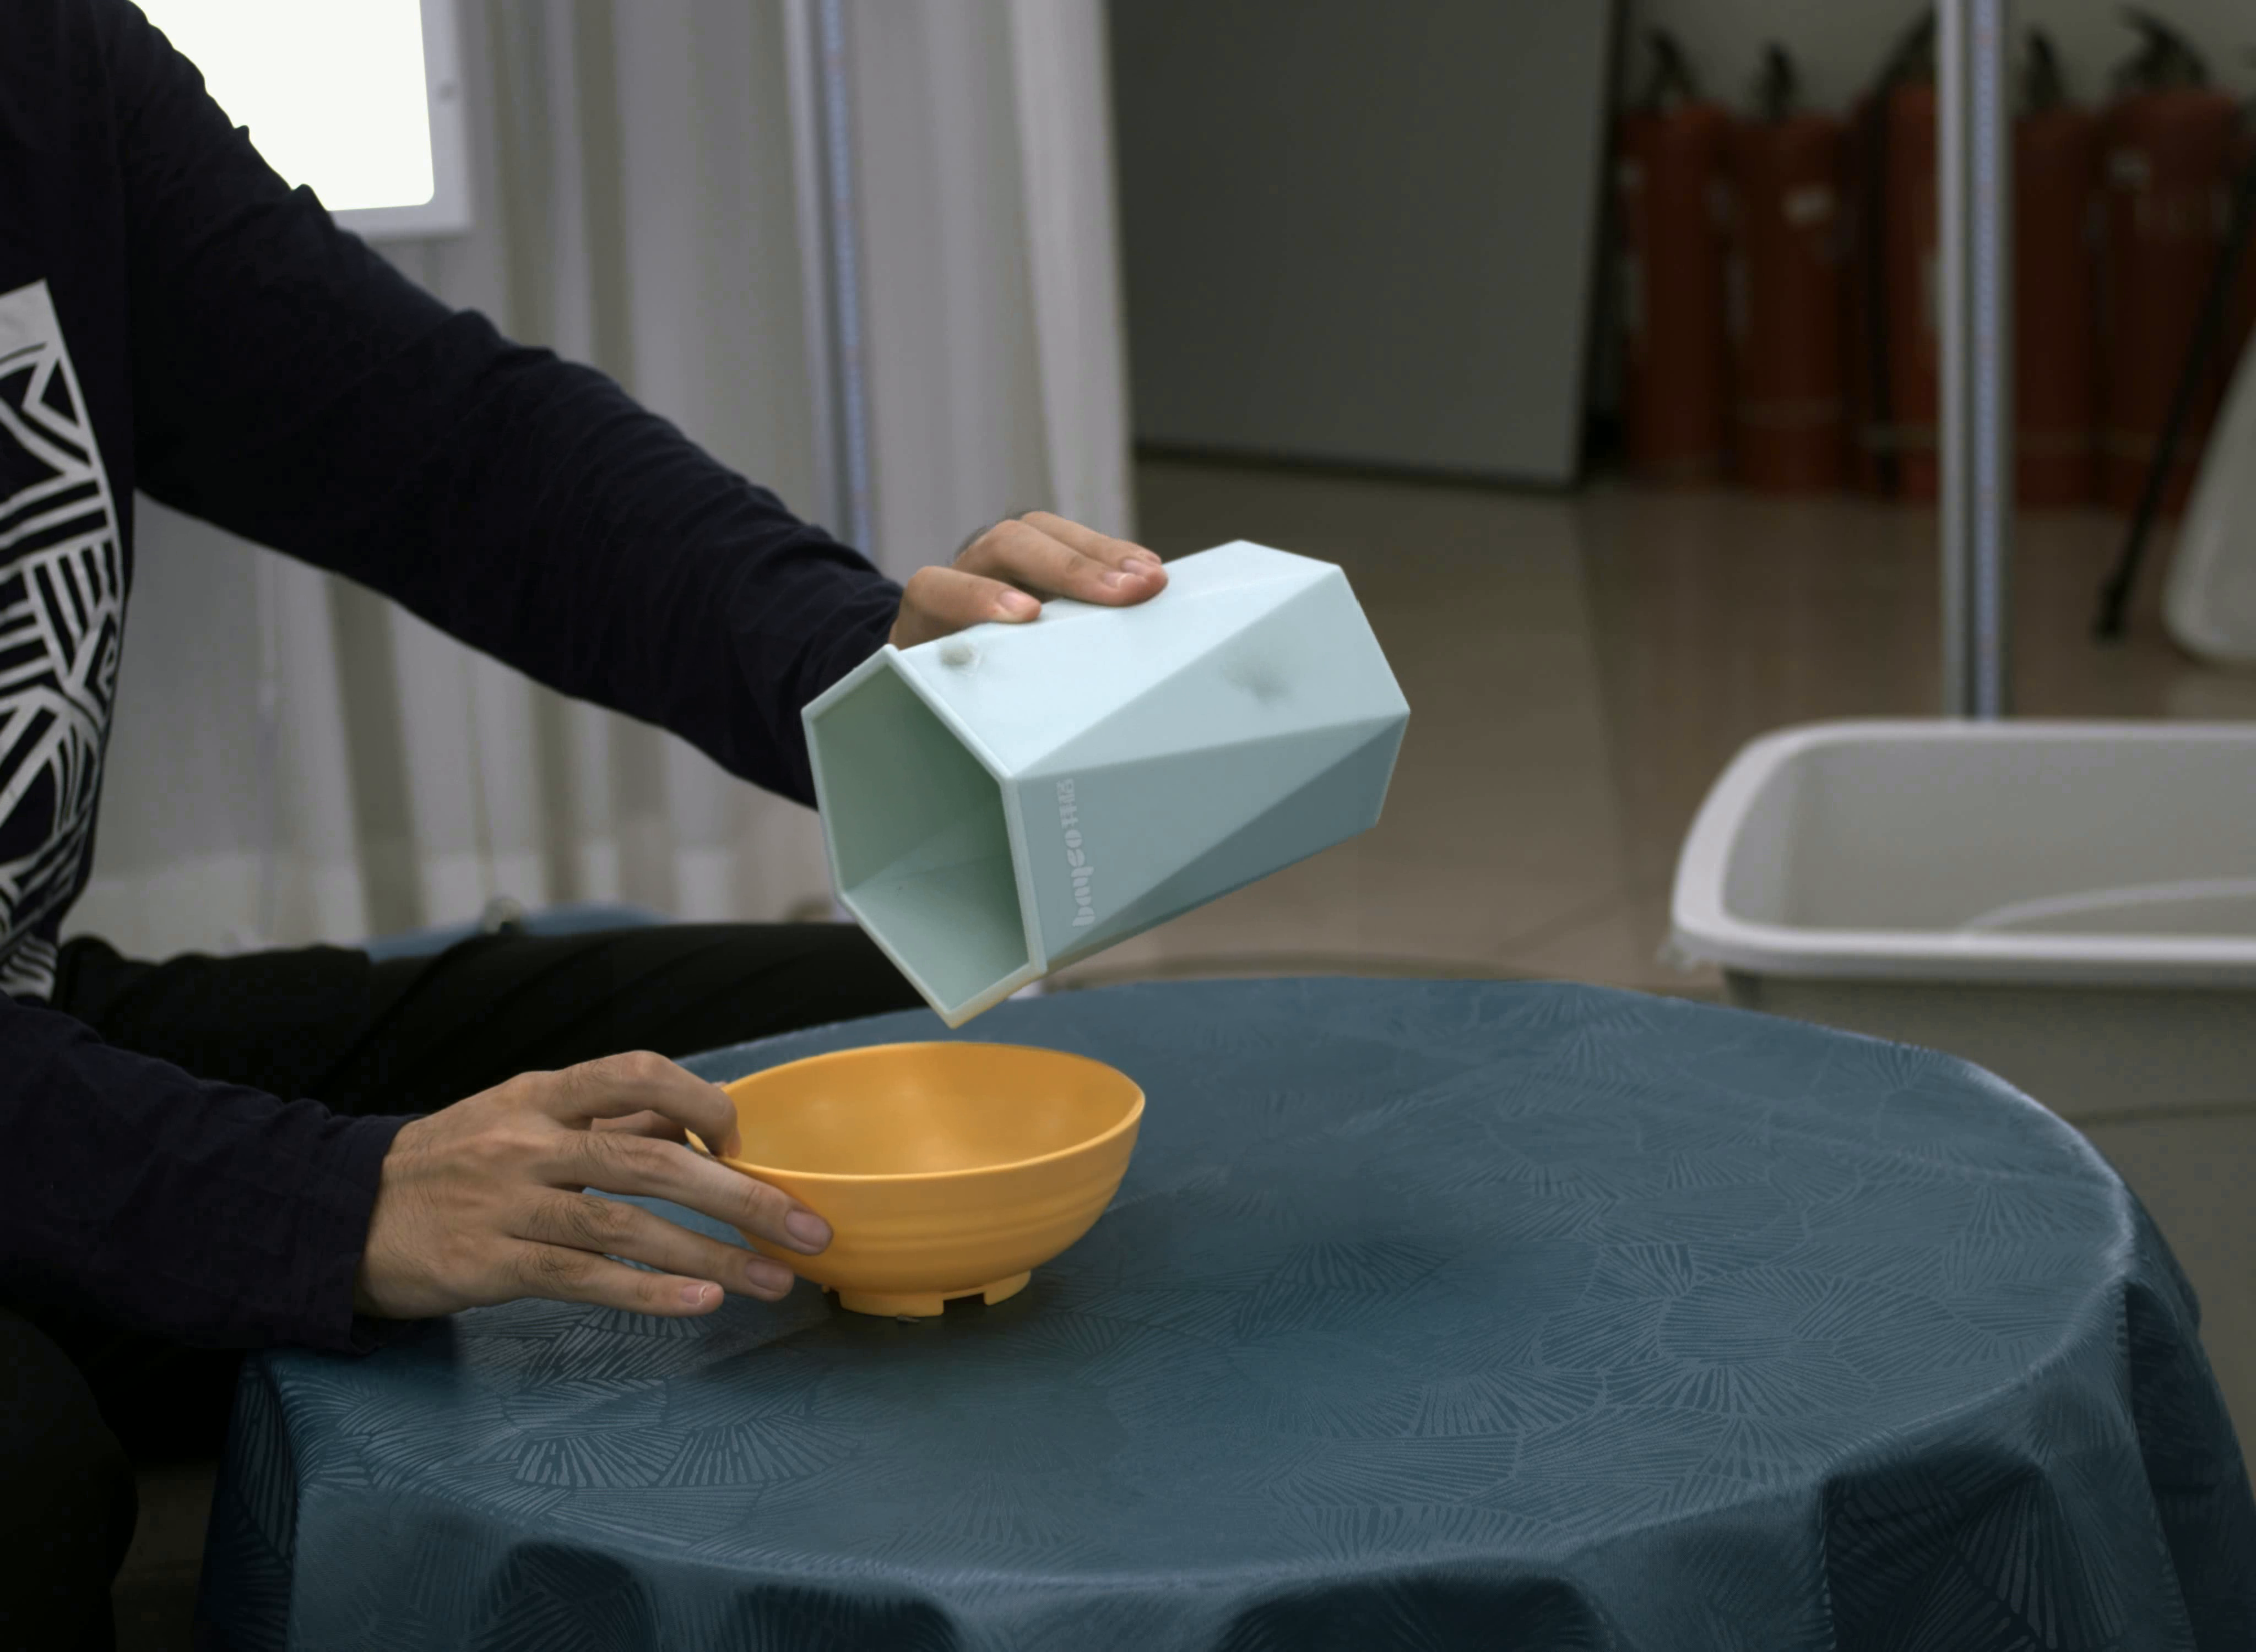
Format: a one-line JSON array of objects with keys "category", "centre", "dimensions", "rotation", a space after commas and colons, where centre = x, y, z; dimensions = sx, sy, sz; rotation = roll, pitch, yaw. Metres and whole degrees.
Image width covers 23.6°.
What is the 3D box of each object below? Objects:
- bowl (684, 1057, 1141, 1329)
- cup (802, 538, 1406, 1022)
[{"category": "bowl", "centre": [-0.065, 0.119, 1.689], "dimensions": [0.143, 0.061, 0.145], "rotation": [-5, 12, 0]}, {"category": "cup", "centre": [-0.003, -0.024, 1.725], "dimensions": [0.160, 0.132, 0.116], "rotation": [-21, 20, -30]}]
